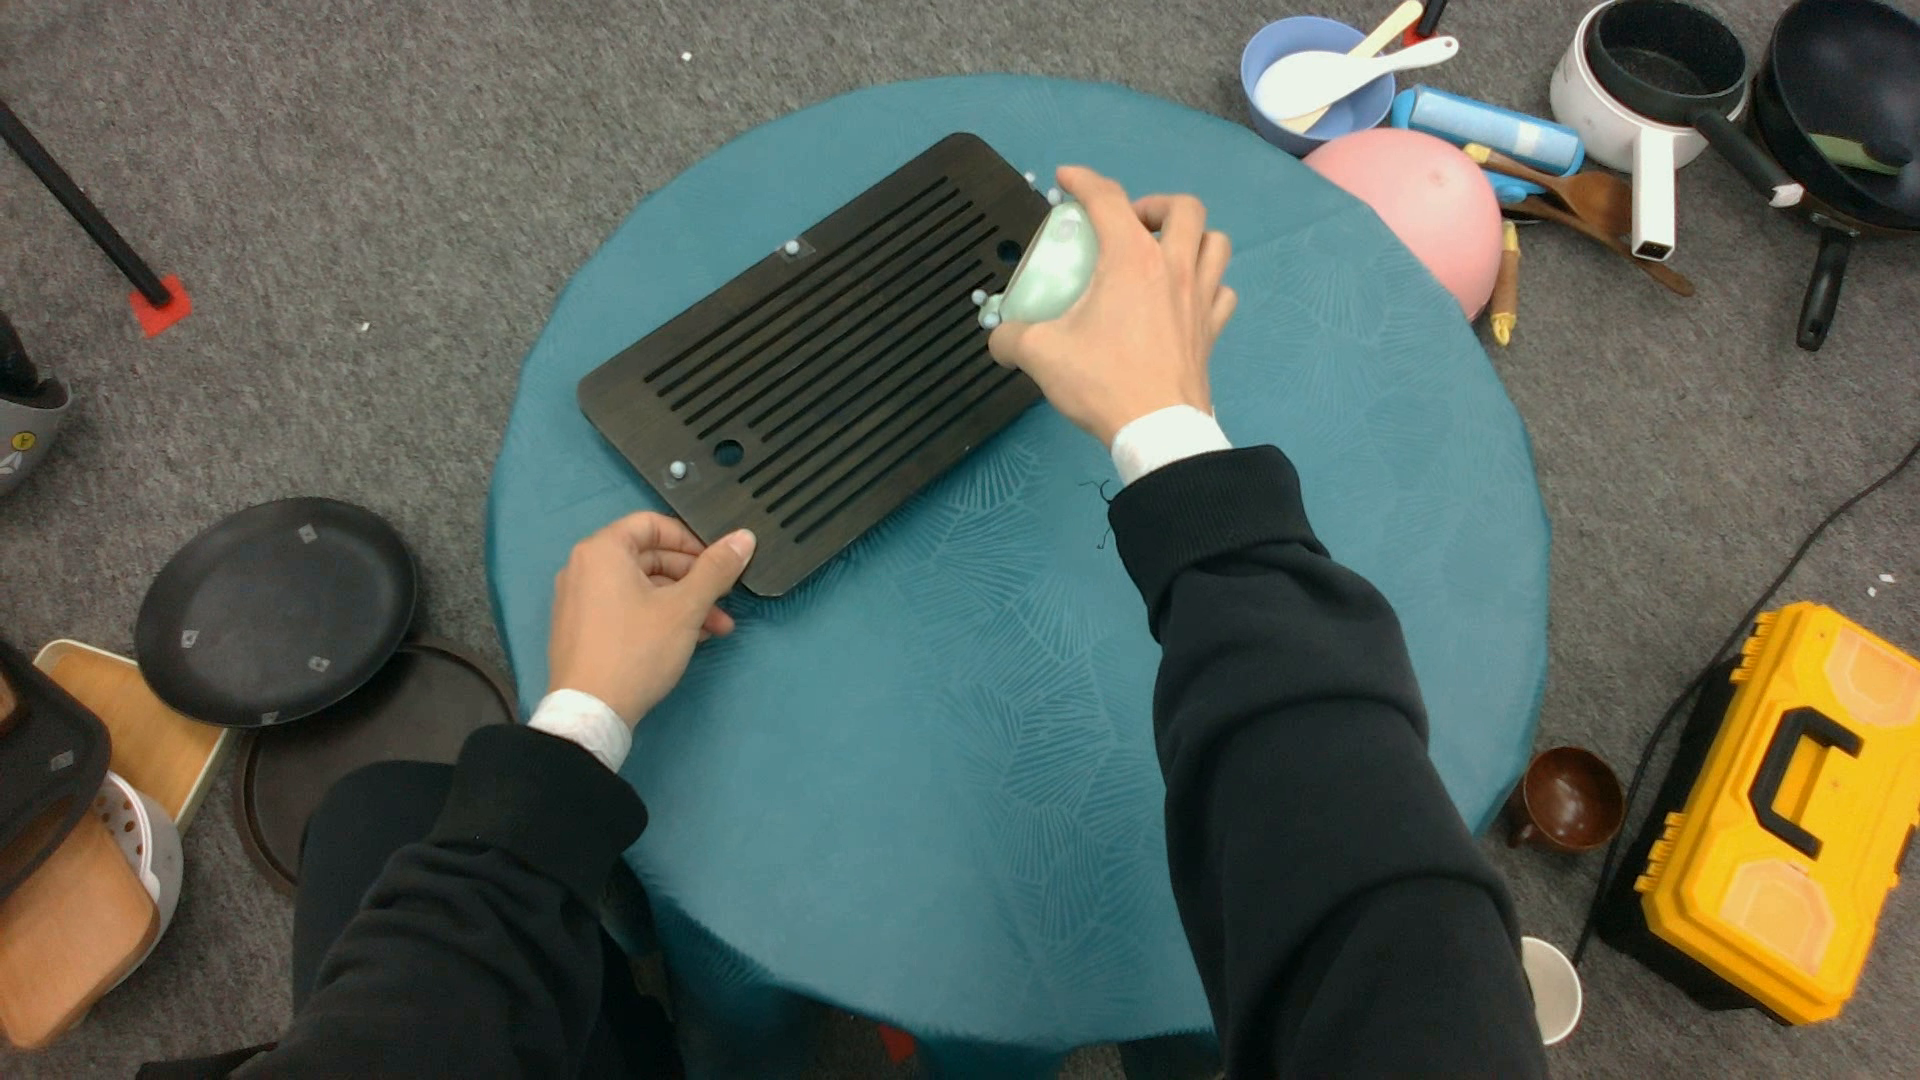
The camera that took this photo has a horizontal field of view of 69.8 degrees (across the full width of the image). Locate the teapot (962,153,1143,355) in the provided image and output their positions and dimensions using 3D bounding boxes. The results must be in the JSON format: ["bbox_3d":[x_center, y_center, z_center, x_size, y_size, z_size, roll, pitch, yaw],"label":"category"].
[{"bbox_3d":[0.049,-0.136,0.684,0.075,0.143,0.088,26,70,-5],"label":"teapot"}]

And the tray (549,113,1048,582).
[{"bbox_3d":[-0.065,-0.121,0.794,0.307,0.018,0.170,-40,77,-22],"label":"tray"}]
